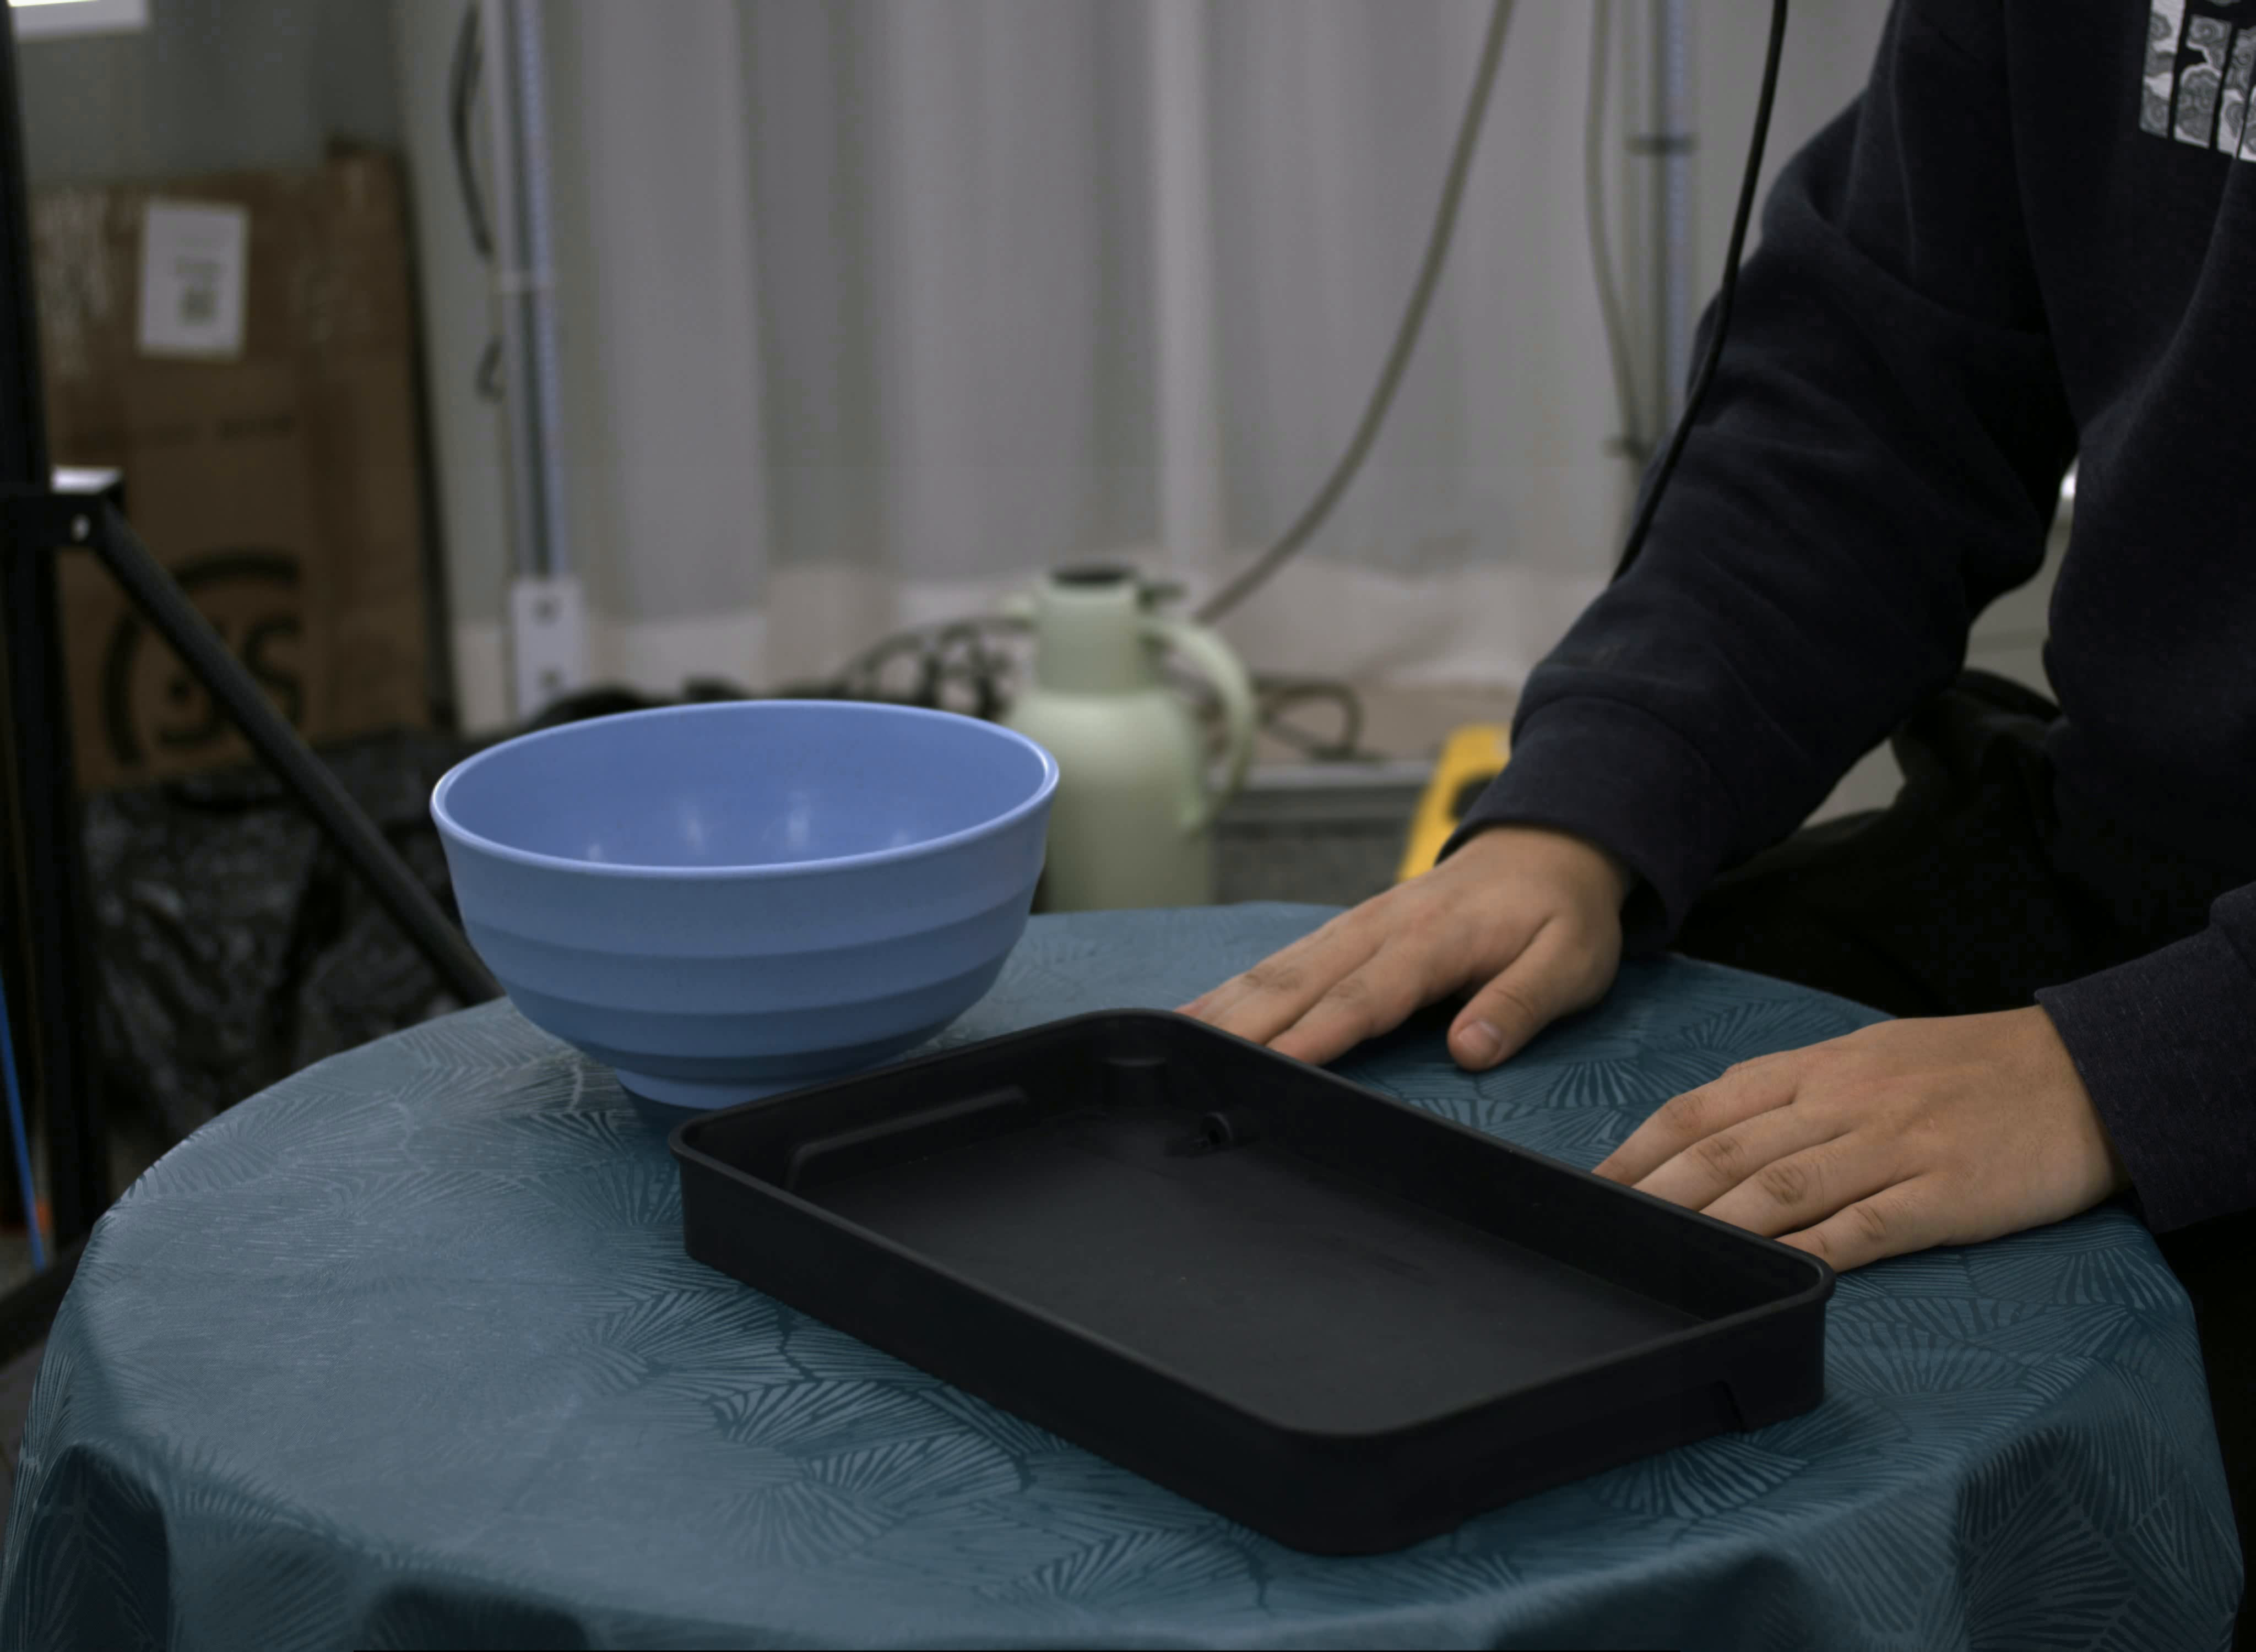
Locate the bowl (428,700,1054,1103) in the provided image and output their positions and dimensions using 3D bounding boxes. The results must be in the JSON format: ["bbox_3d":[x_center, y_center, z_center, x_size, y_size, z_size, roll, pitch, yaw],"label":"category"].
[{"bbox_3d":[-0.118,0.028,1.674,0.195,0.095,0.197,-4,15,0],"label":"bowl"}]

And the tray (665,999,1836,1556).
[{"bbox_3d":[0.027,0.117,1.454,0.180,0.037,0.325,-13,19,-34],"label":"tray"}]
